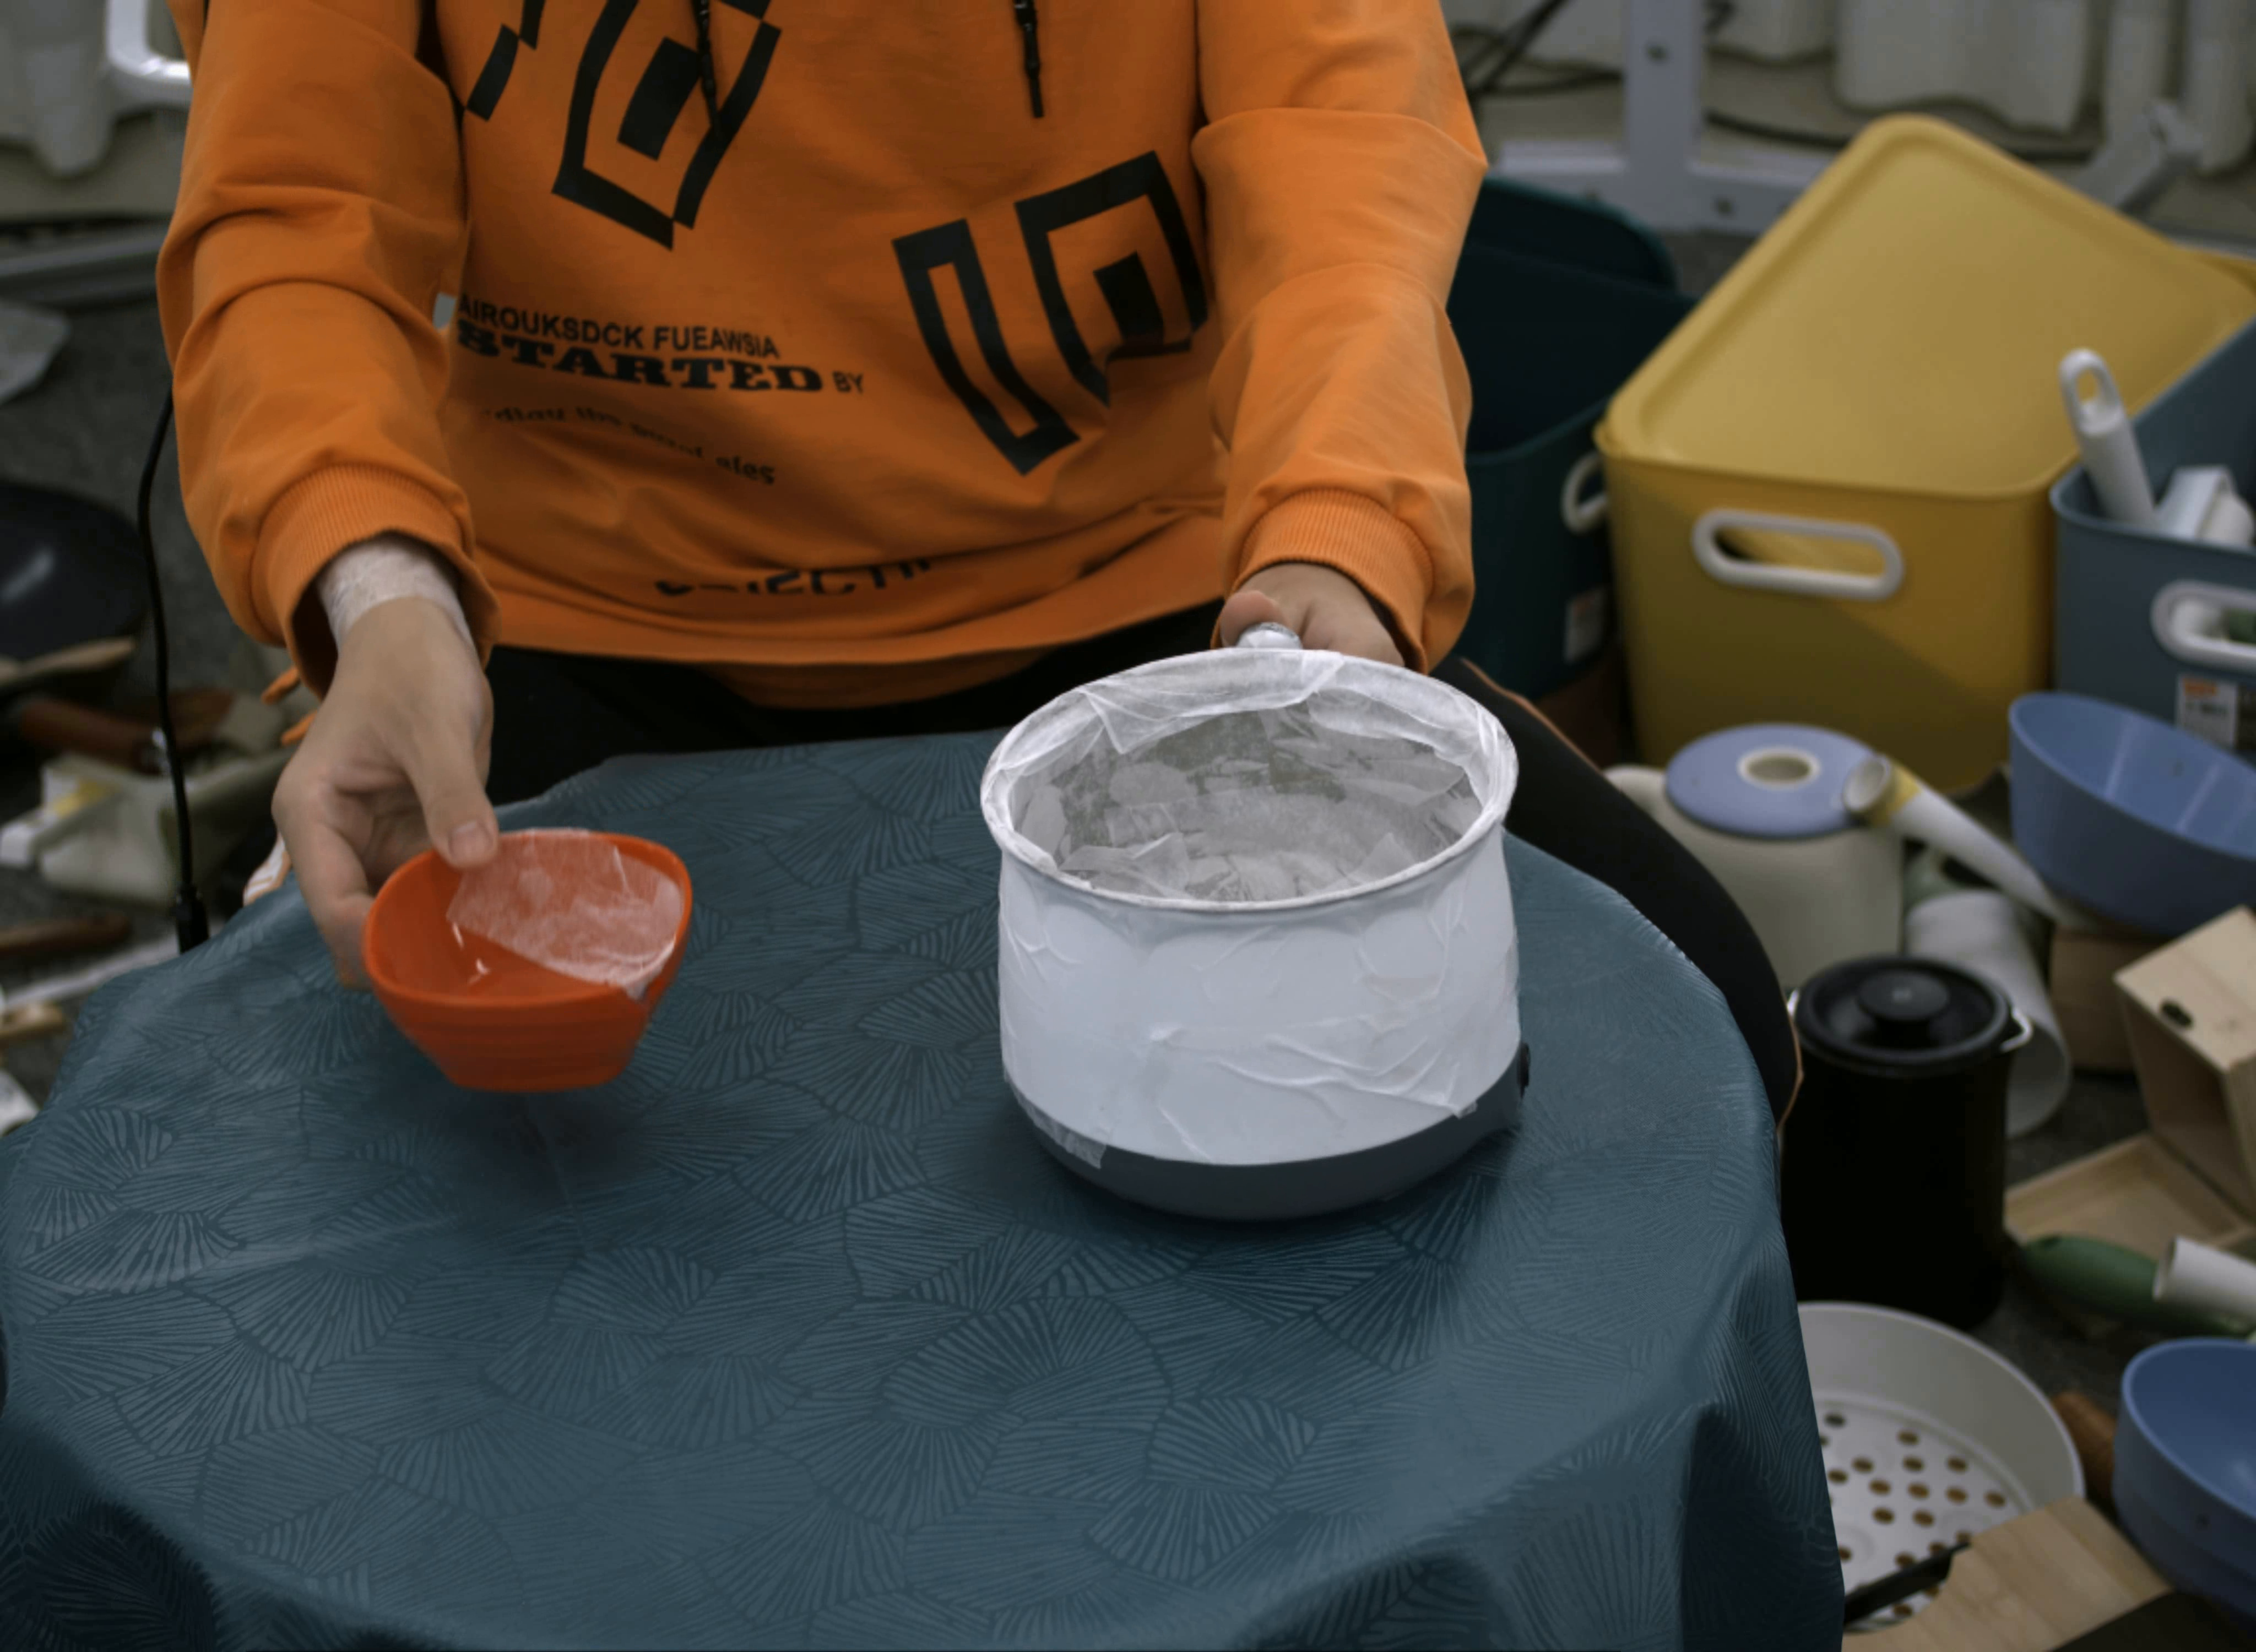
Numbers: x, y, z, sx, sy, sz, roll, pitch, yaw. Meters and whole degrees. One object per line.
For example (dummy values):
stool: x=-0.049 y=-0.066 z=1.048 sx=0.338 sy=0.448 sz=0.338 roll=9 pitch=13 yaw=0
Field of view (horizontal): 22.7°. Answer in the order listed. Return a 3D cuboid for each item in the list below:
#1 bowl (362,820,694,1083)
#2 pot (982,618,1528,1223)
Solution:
bowl: x=-0.198 y=0.047 z=1.882 sx=0.118 sy=0.051 sz=0.121 roll=-3 pitch=30 yaw=2
pot: x=0.045 y=0.024 z=1.894 sx=0.178 sy=0.135 sz=0.237 roll=-1 pitch=29 yaw=4
